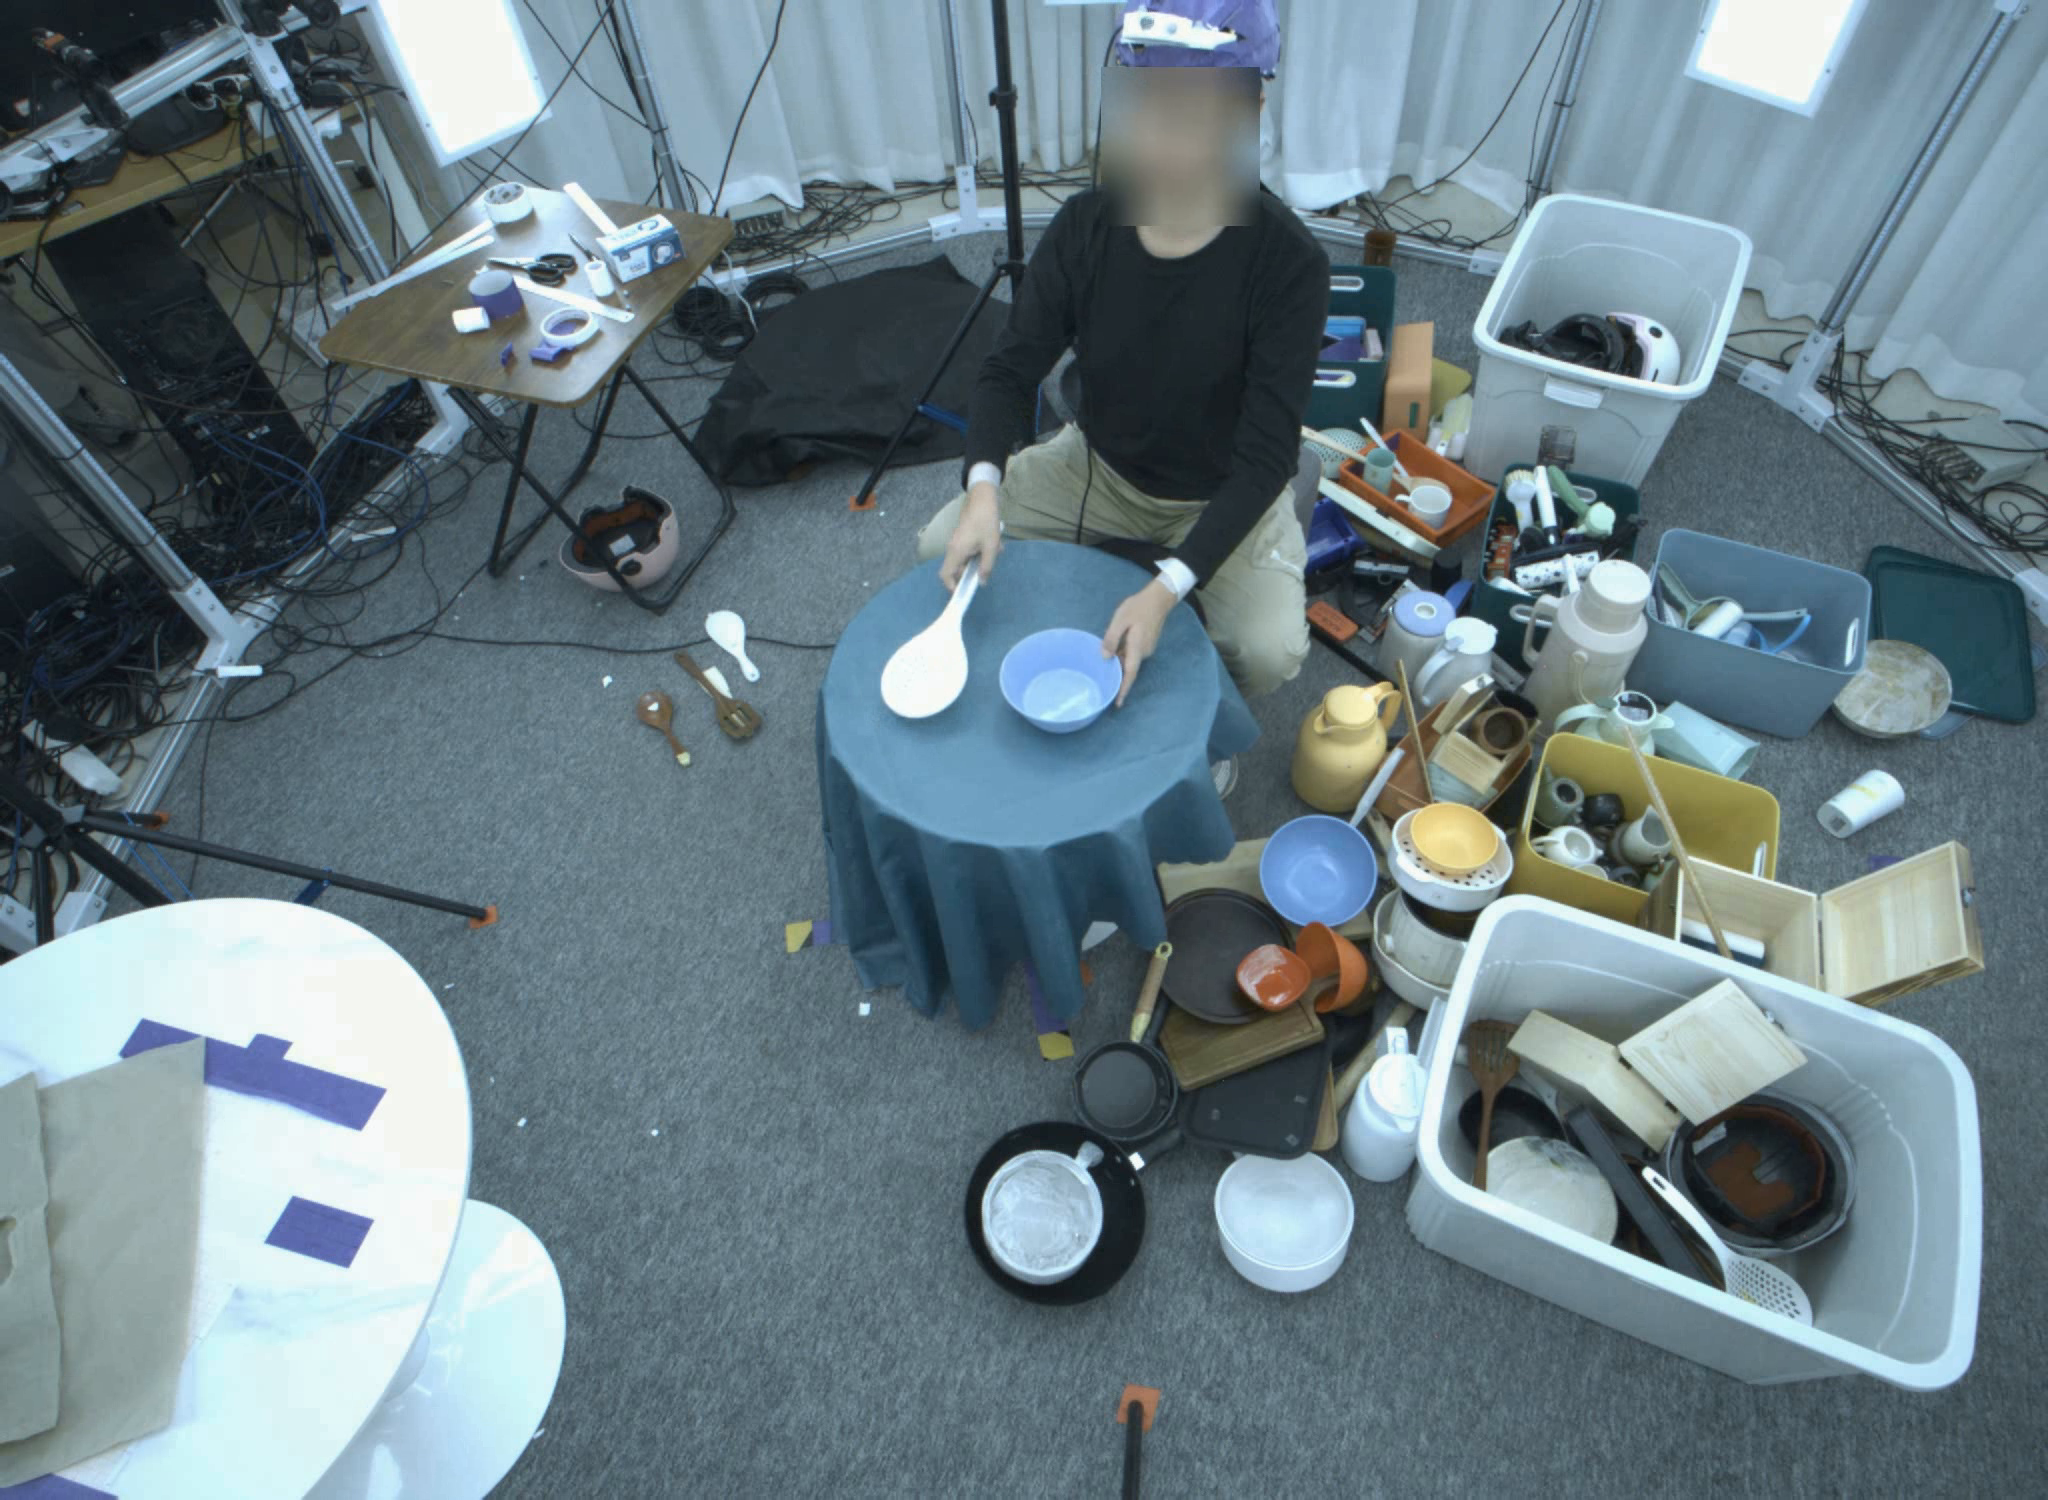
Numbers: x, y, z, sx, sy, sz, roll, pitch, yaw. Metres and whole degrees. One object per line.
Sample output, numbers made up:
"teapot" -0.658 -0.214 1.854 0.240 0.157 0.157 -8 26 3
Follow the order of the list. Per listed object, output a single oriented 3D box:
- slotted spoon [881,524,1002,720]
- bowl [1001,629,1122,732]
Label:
"slotted spoon" -0.109 -0.197 1.853 0.134 0.046 0.349 14 74 22
"bowl" 0.056 -0.092 1.808 0.176 0.071 0.174 0 54 2
